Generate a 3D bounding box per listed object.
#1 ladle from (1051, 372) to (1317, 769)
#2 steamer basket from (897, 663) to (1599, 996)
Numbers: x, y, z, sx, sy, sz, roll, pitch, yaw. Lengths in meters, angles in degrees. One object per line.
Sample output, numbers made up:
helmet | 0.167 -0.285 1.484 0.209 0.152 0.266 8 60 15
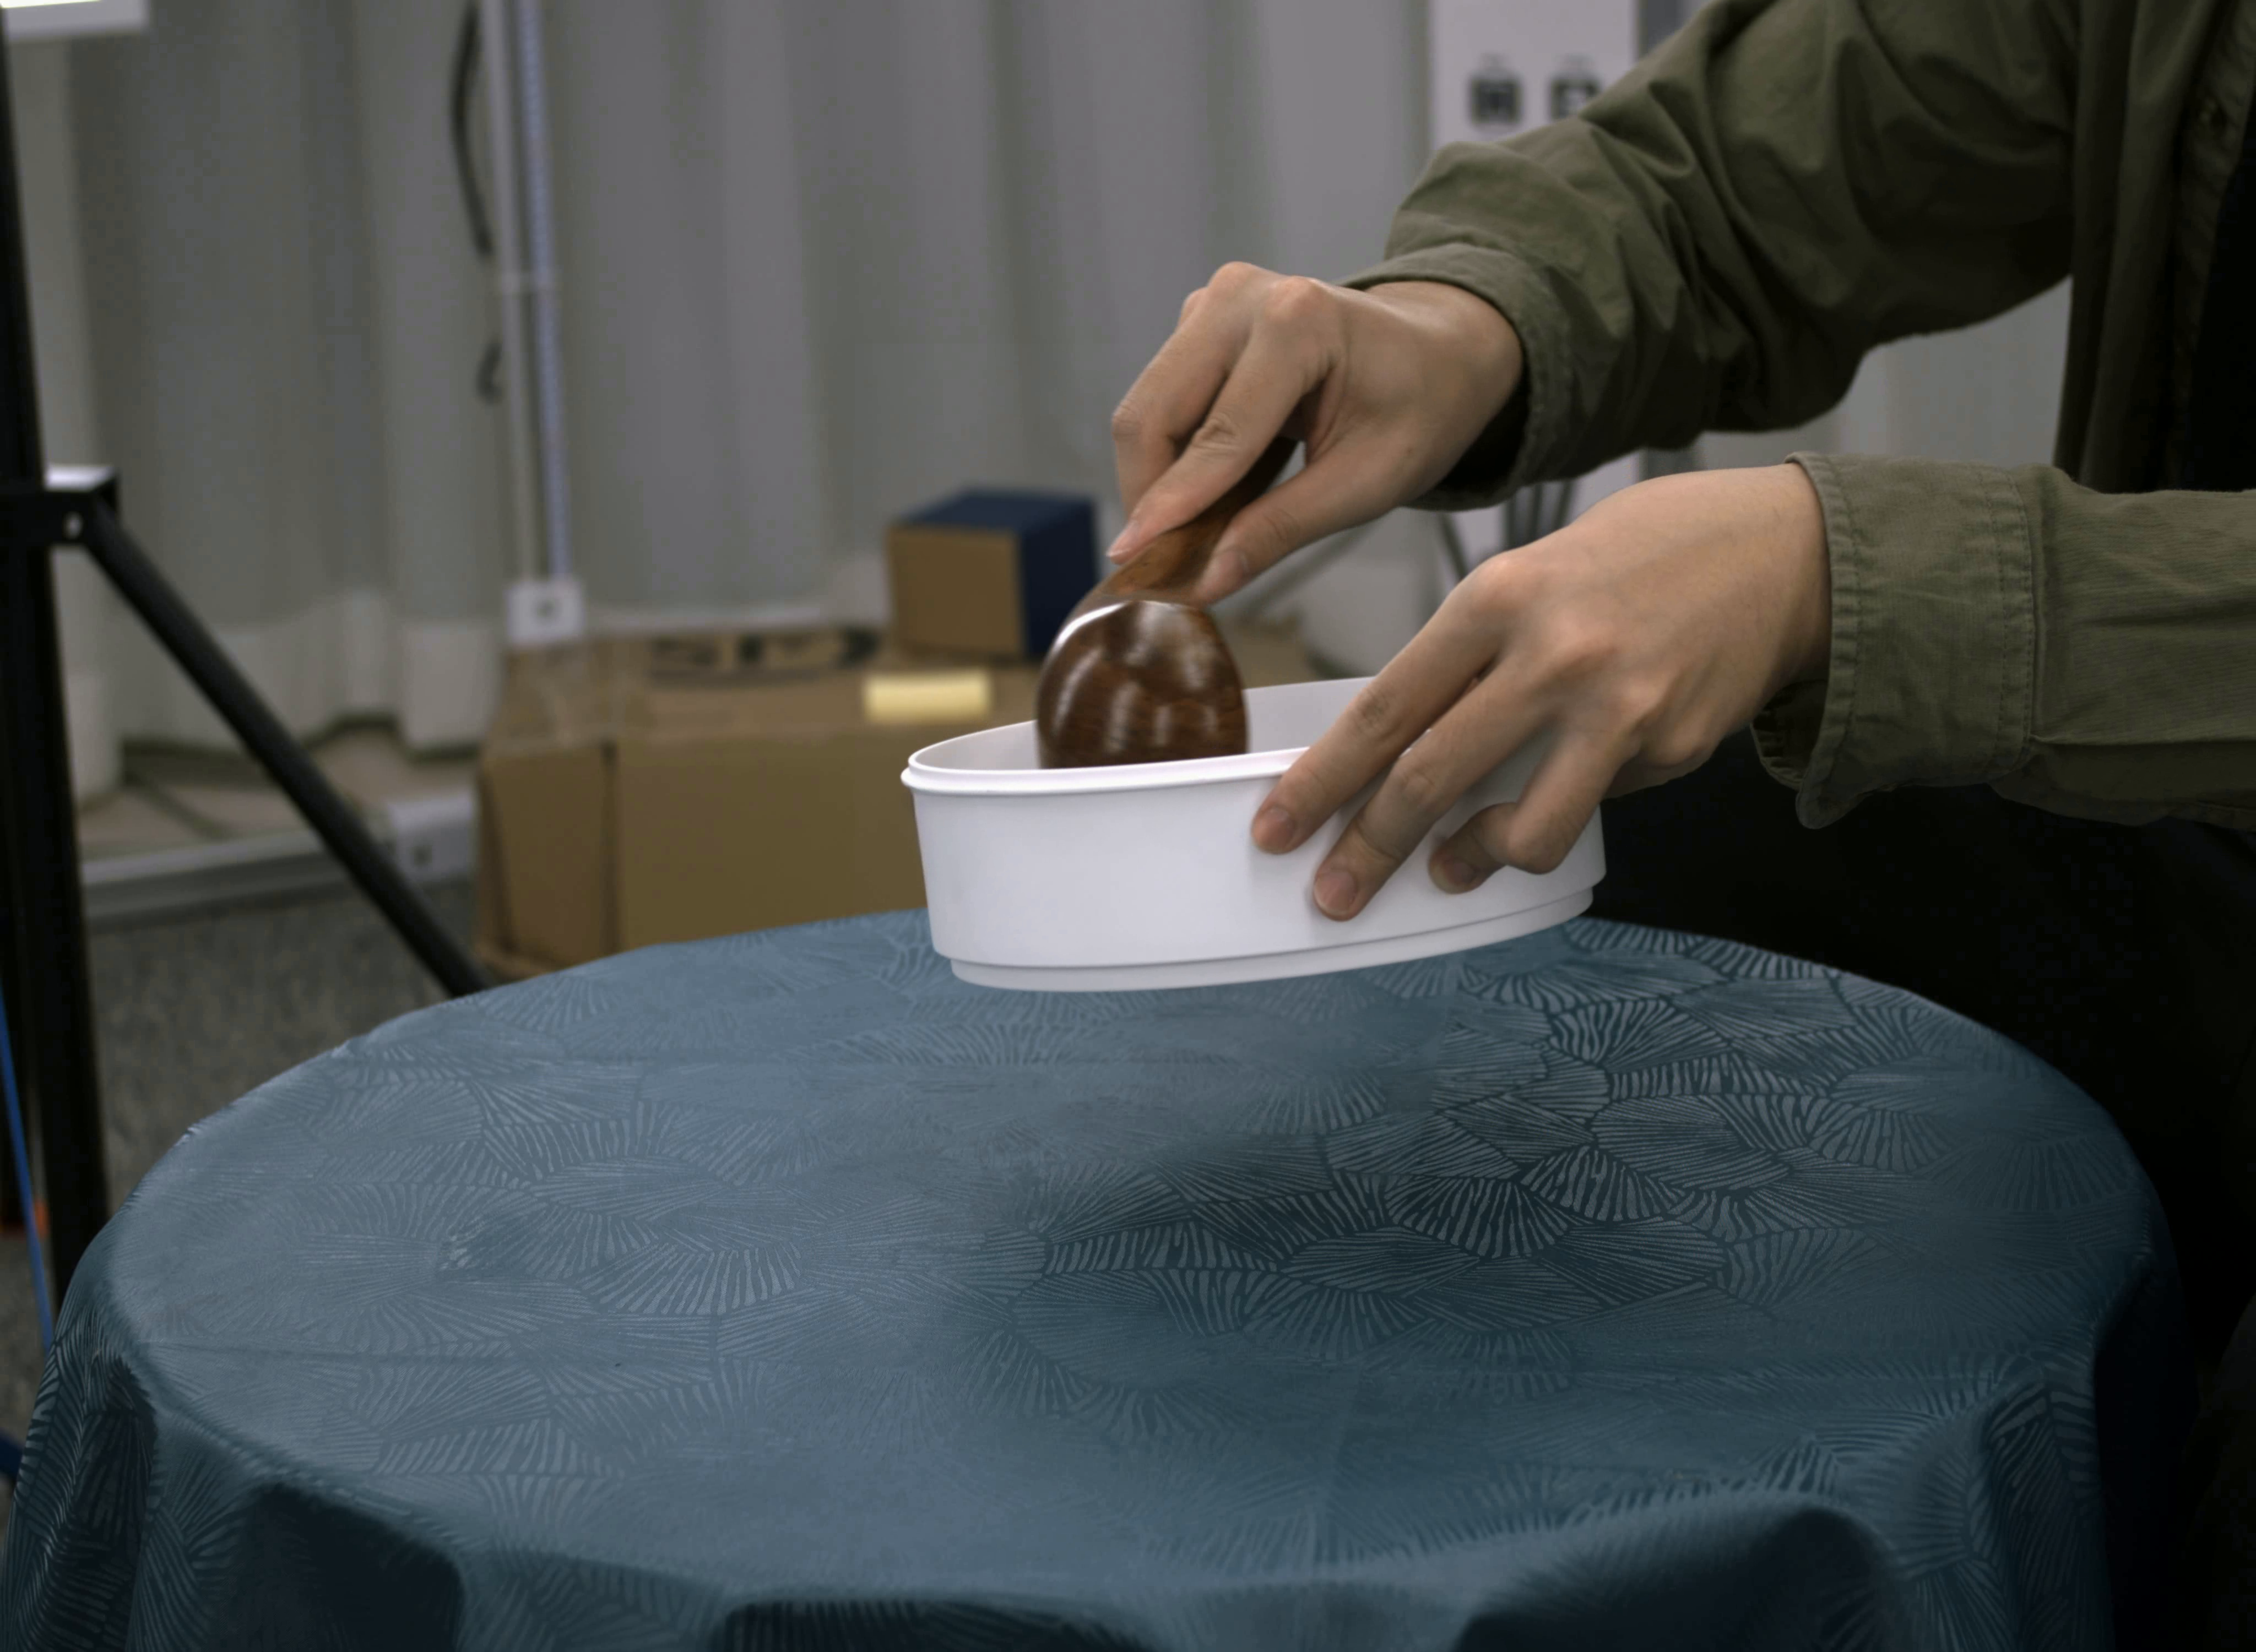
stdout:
ladle | 0.041 -0.069 1.581 0.077 0.082 0.272 31 30 4
steamer basket | 0.036 0.002 1.520 0.197 0.069 0.235 -11 9 -32
